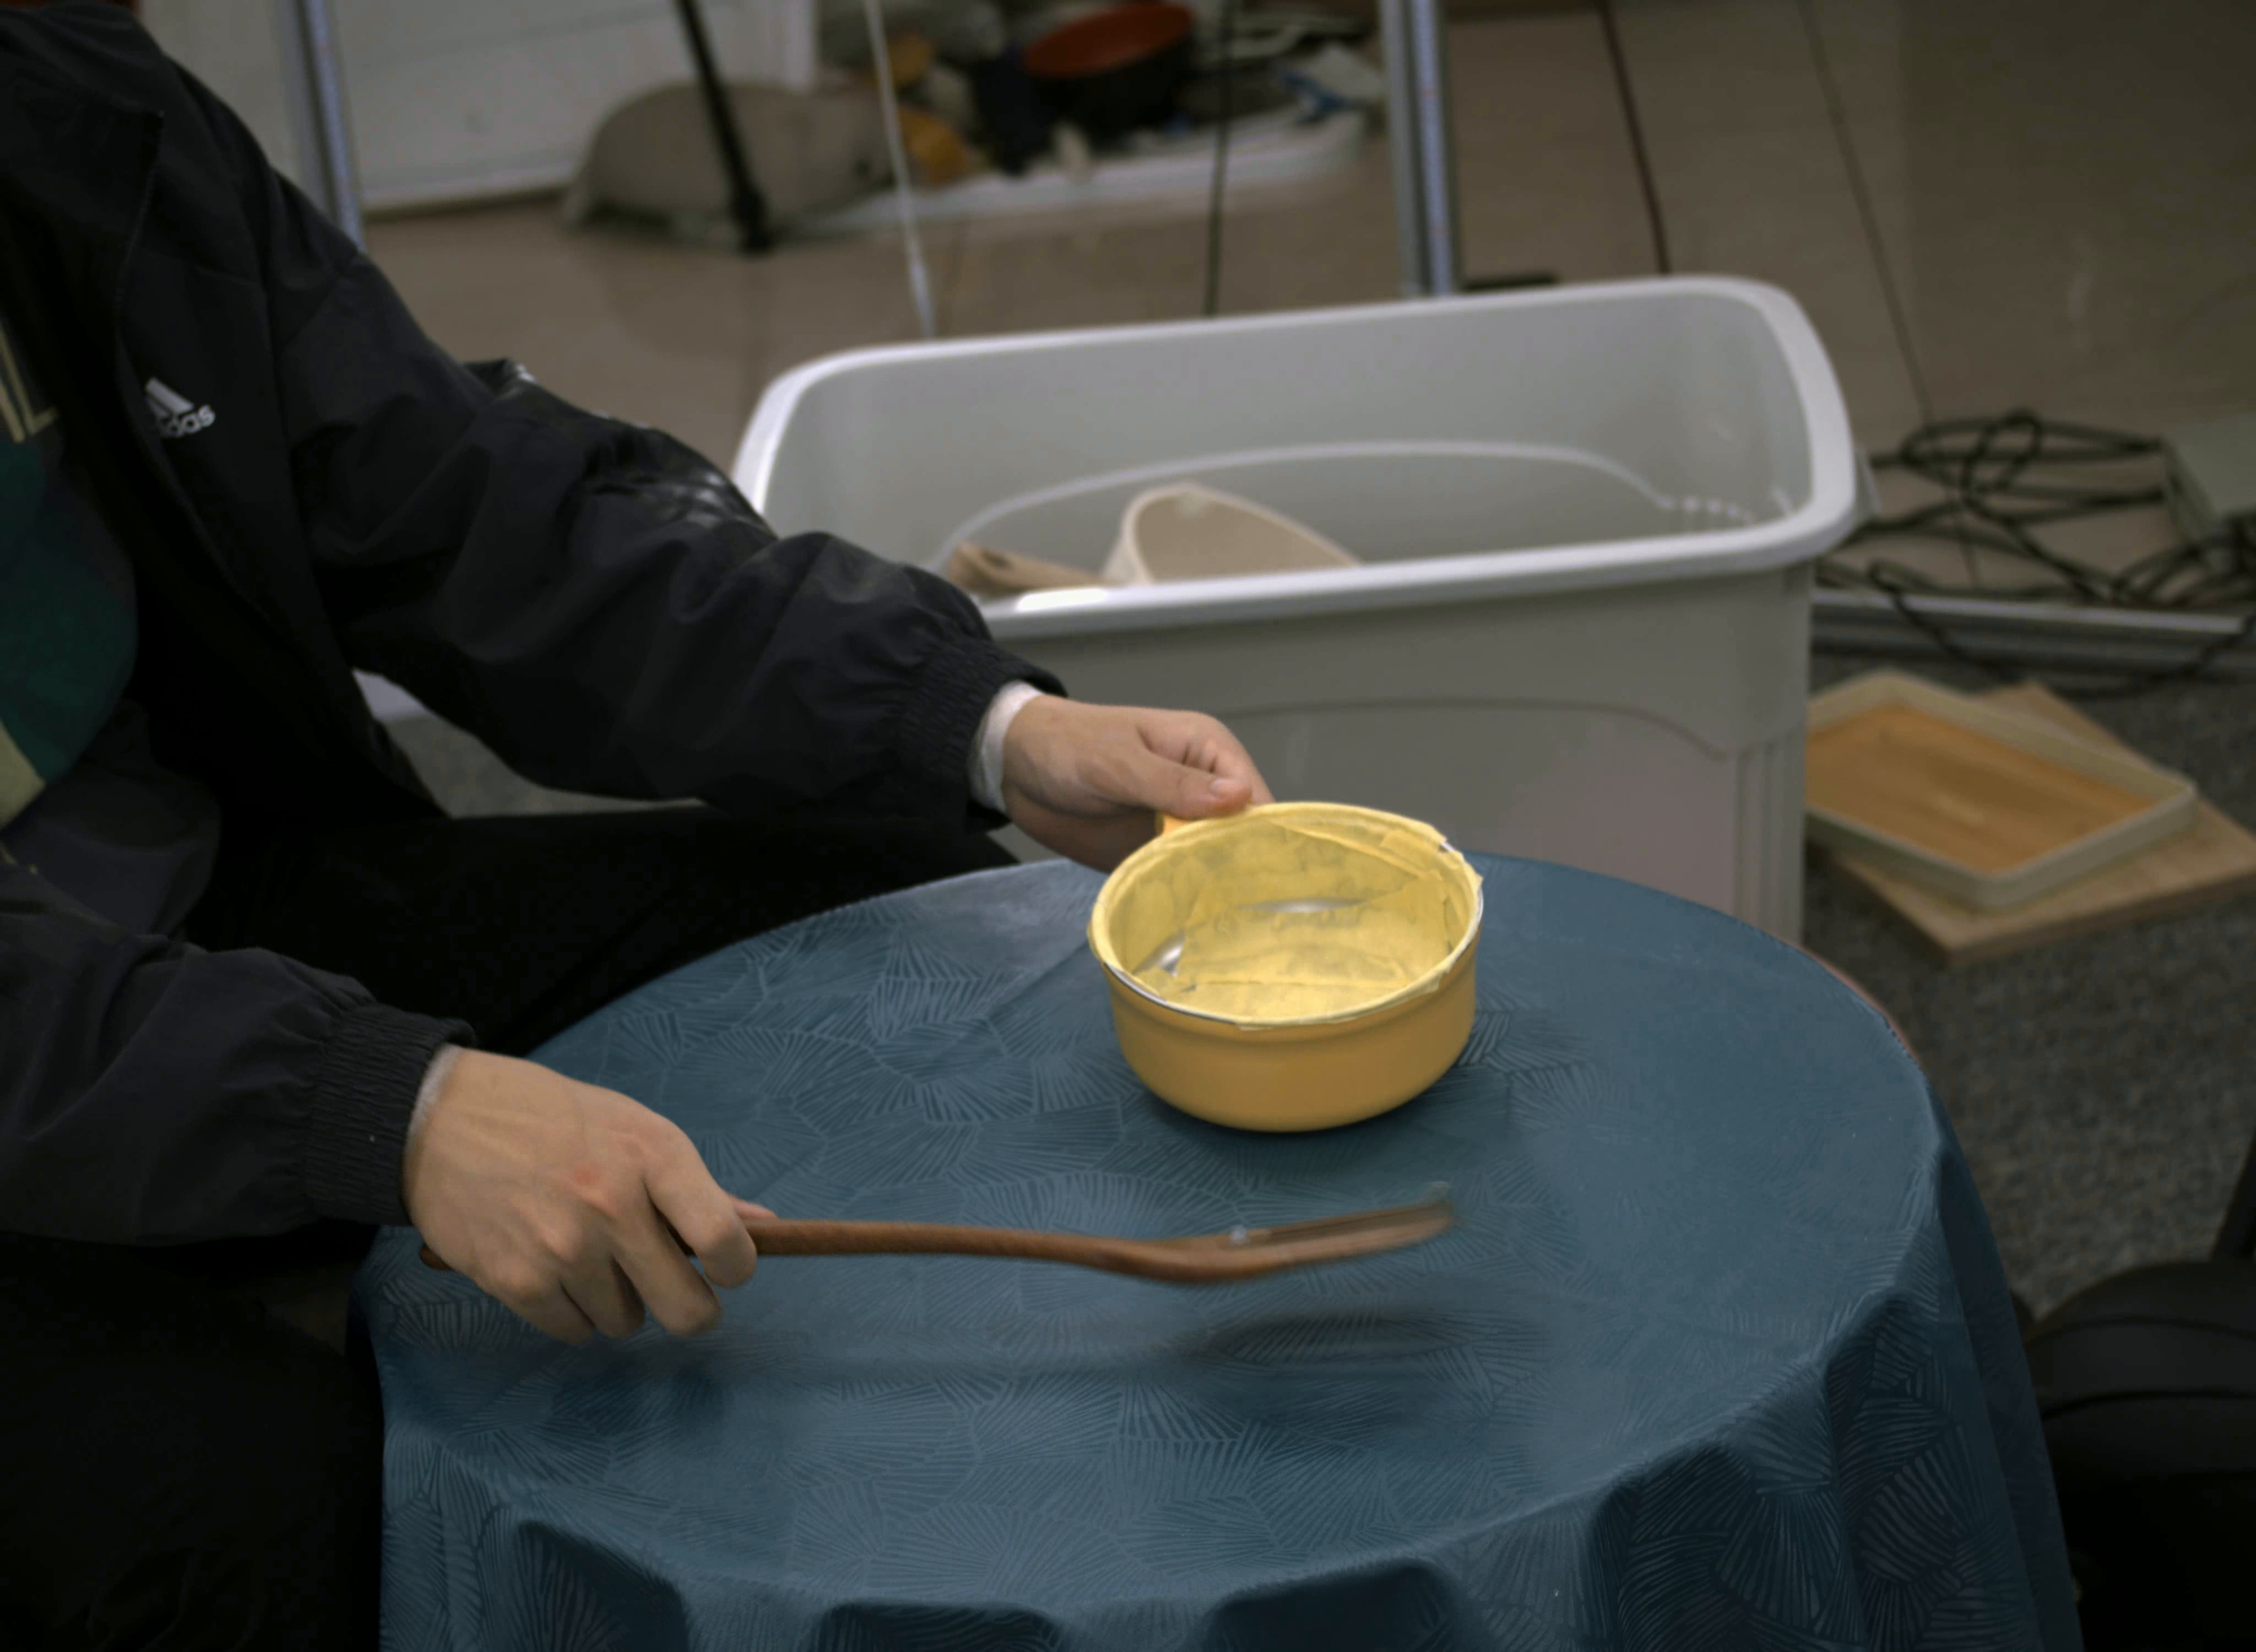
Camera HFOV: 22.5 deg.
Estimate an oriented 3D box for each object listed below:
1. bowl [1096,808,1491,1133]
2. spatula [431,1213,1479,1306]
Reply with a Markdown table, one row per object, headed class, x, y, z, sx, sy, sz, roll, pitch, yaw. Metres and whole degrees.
| class | x | y | z | sx | sy | sz | roll | pitch | yaw |
| --- | --- | --- | --- | --- | --- | --- | --- | --- | --- |
| bowl | 0.060 | 0.055 | 2.222 | 0.152 | 0.075 | 0.177 | -19 | 35 | -21 |
| spatula | -0.066 | 0.155 | 2.040 | 0.386 | 0.024 | 0.085 | 0 | 8 | 12 |
